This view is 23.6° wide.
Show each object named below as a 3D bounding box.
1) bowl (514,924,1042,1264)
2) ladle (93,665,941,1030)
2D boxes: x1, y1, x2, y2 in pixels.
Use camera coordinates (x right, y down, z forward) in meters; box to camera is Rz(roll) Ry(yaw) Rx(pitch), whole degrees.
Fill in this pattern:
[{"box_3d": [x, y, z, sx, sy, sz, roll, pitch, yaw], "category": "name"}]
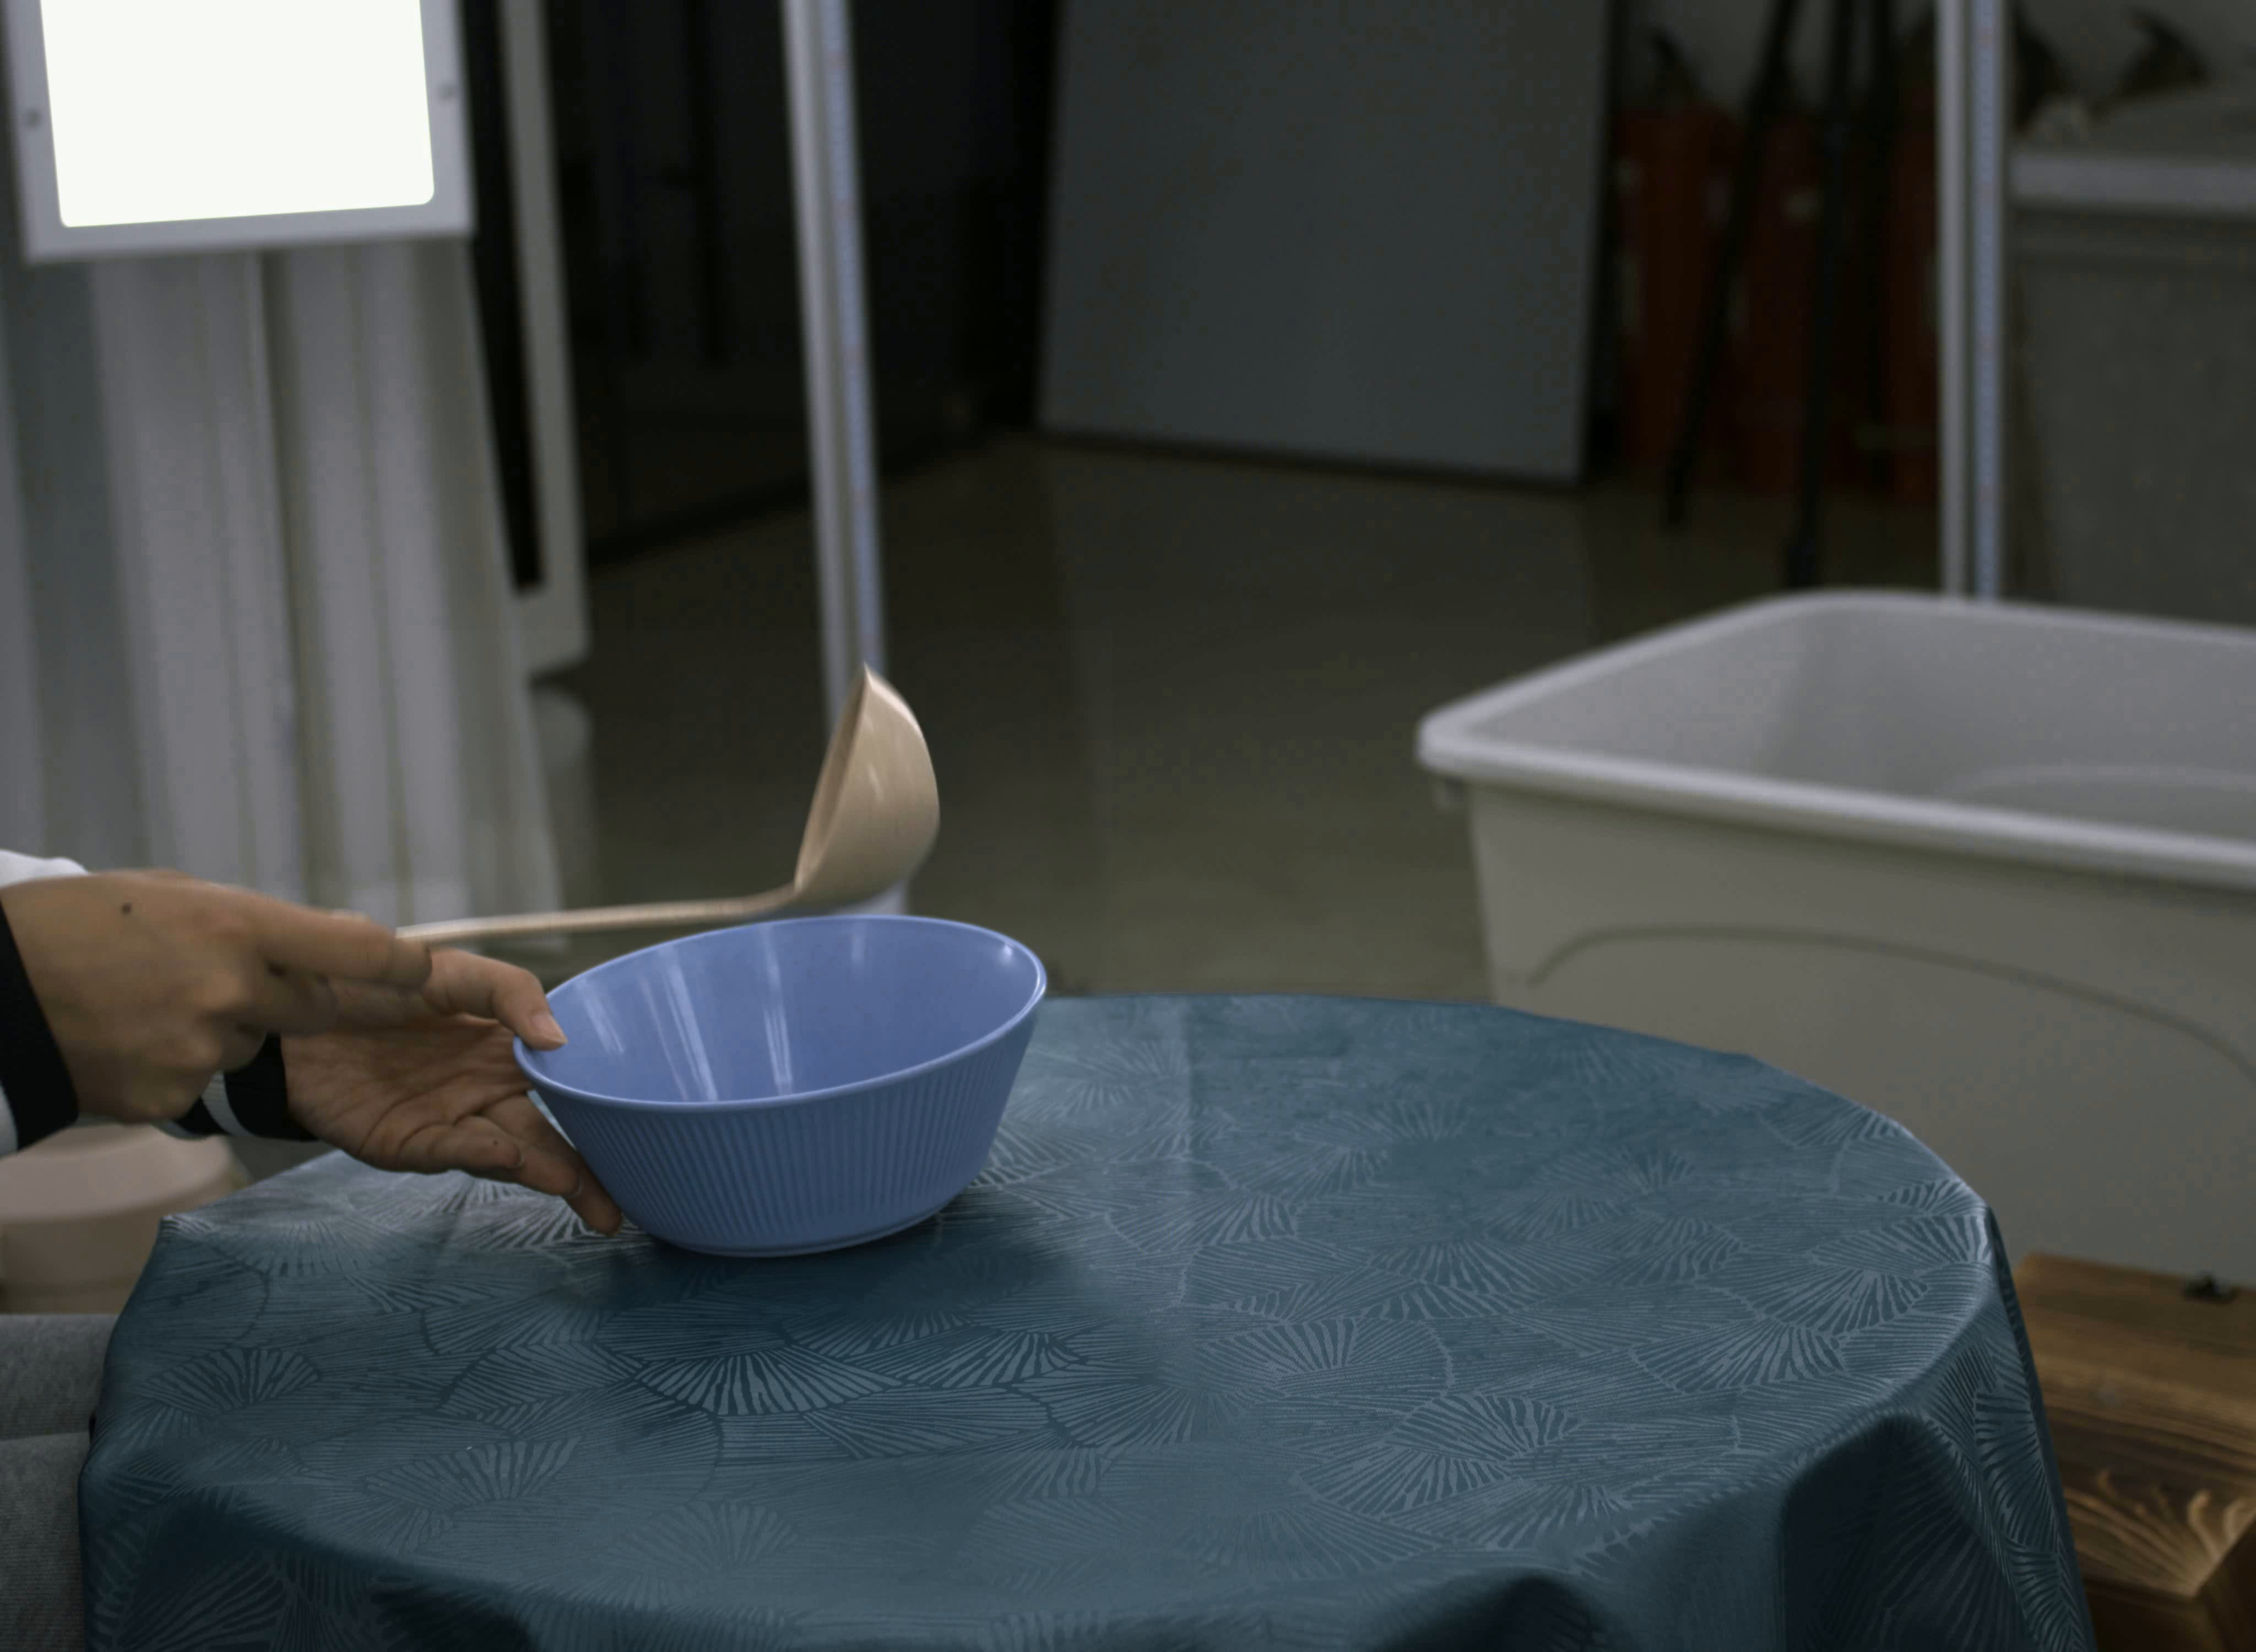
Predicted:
[{"box_3d": [-0.110, 0.091, 1.763, 0.174, 0.071, 0.176, -7, 16, 1], "category": "bowl"}, {"box_3d": [-0.179, 0.005, 1.573, 0.249, 0.074, 0.072, -8, -9, -14], "category": "ladle"}]
